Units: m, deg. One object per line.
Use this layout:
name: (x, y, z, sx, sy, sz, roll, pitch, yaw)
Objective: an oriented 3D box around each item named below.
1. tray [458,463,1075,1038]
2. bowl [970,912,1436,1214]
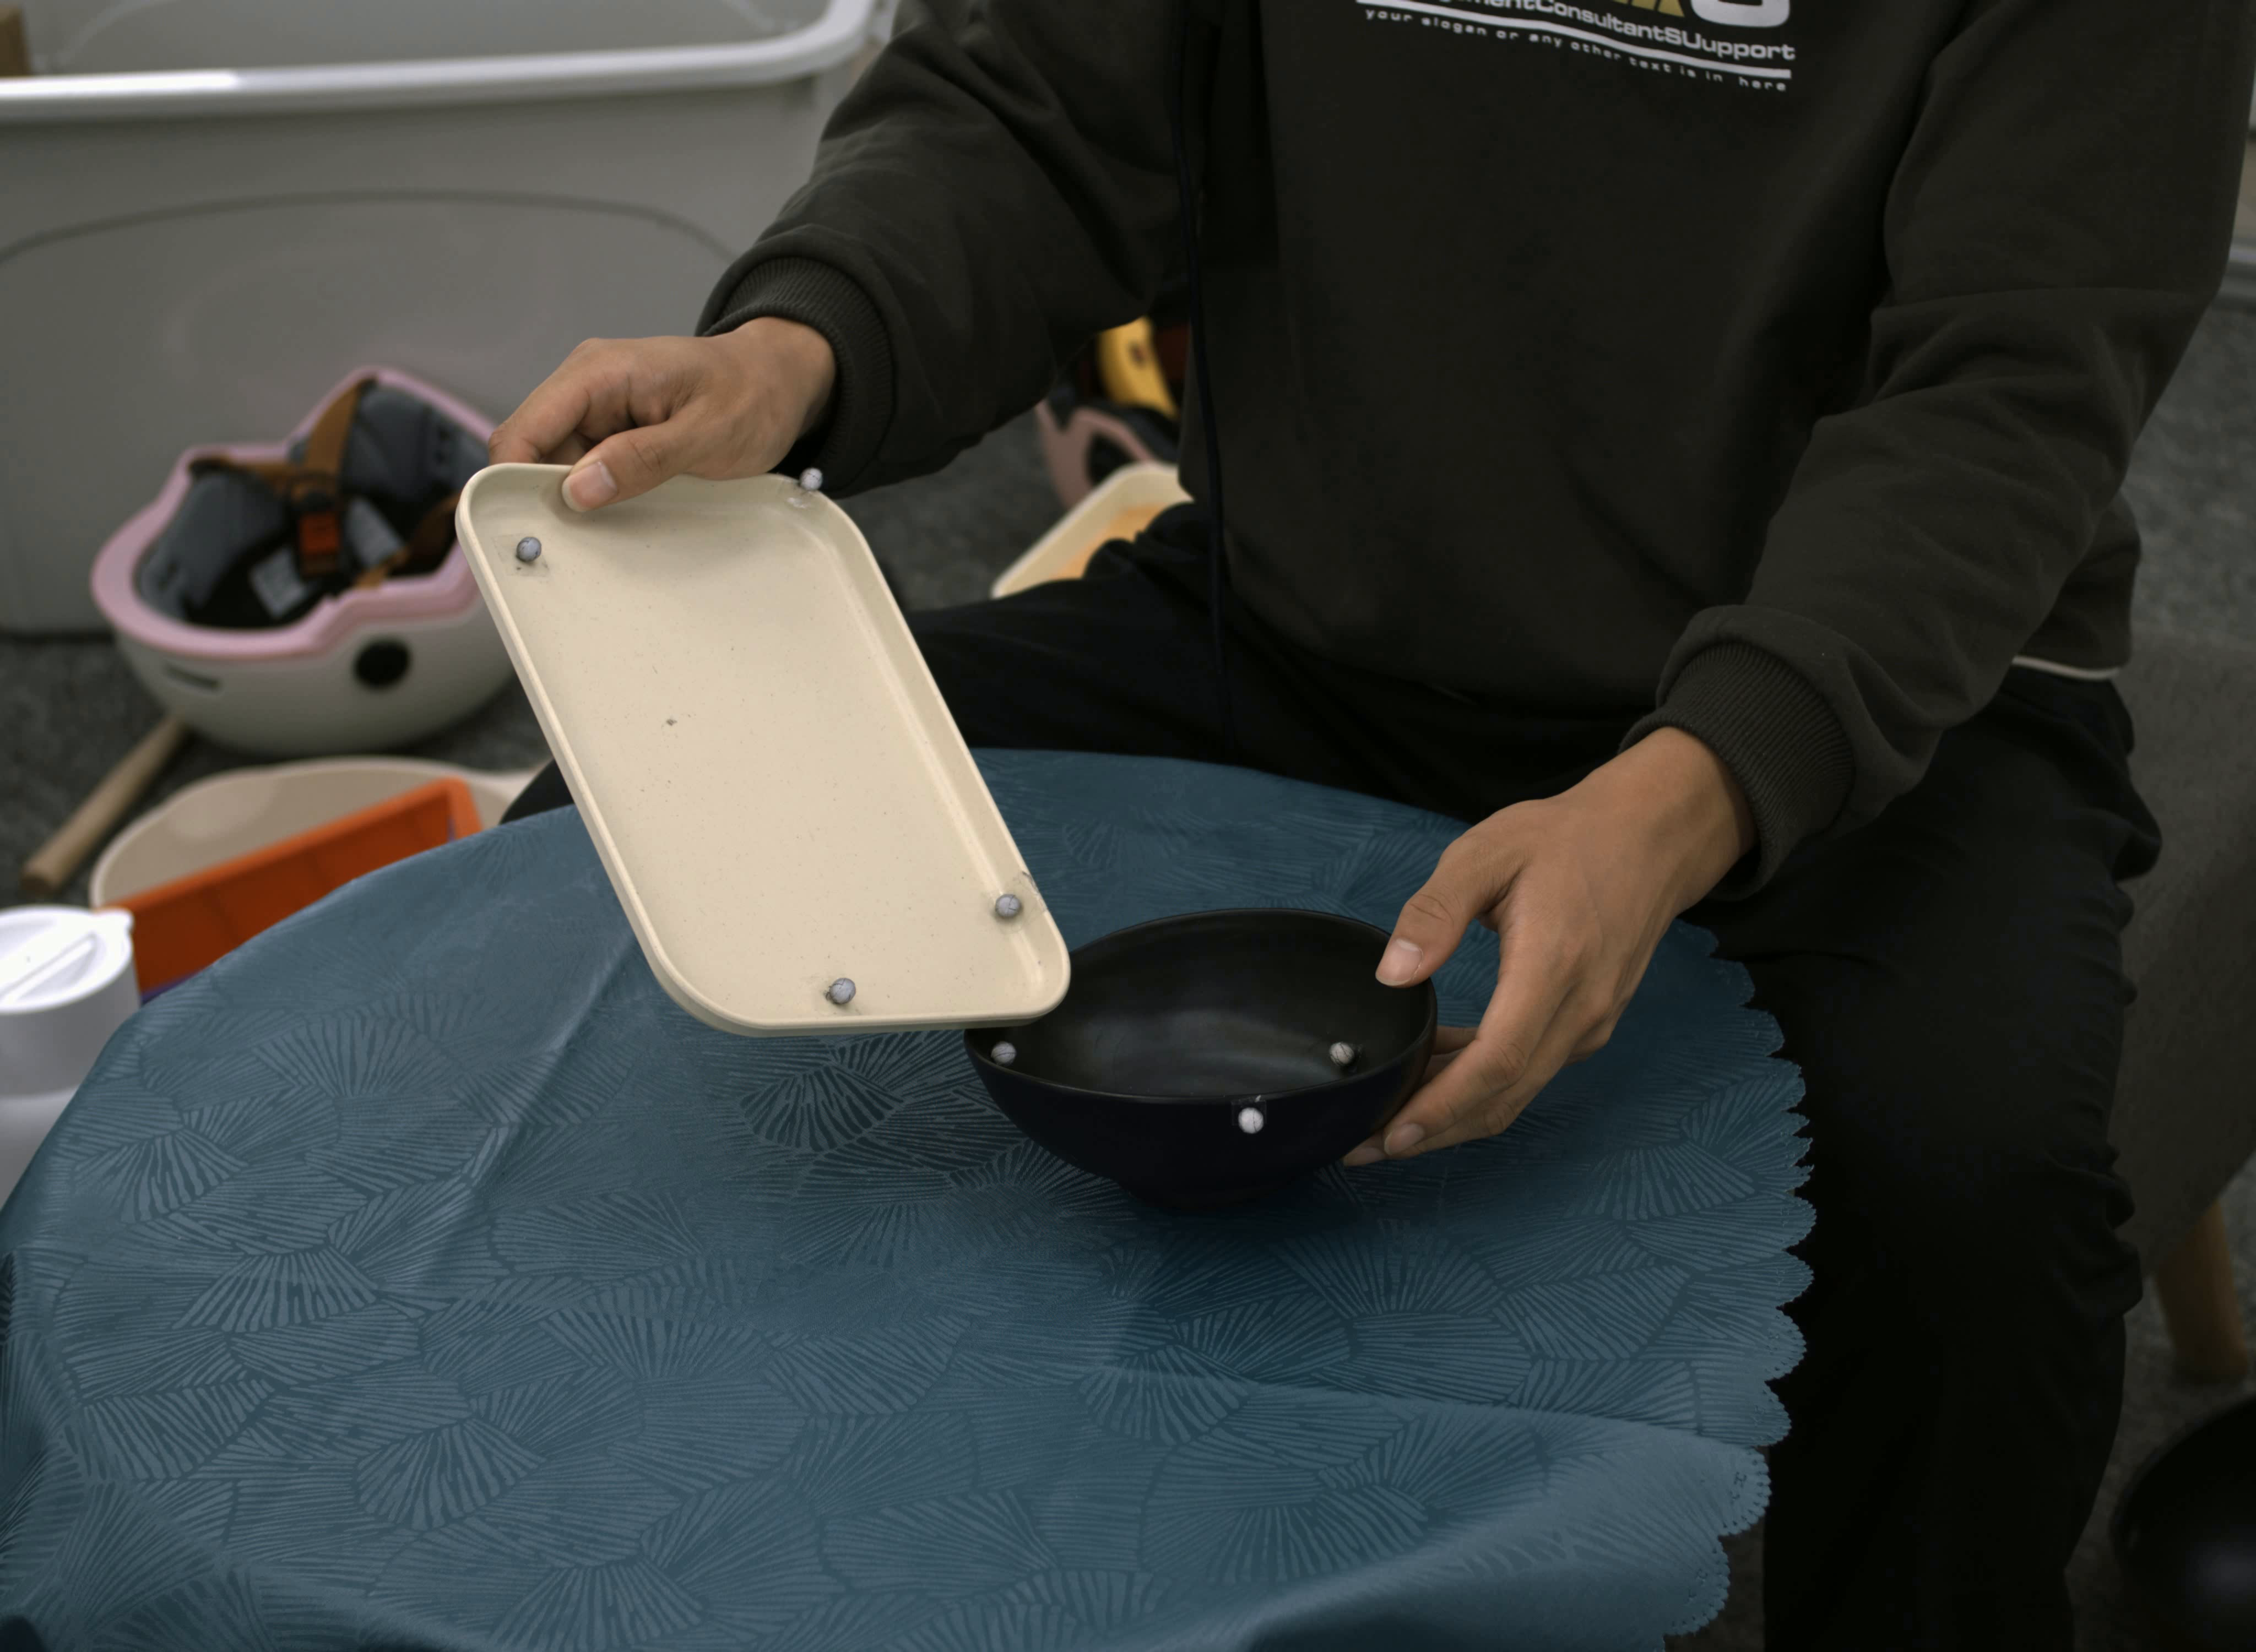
tray: (-0.124, -0.025, 1.901, 0.172, 0.017, 0.243, 0, 51, -40)
bowl: (0.026, 0.086, 1.859, 0.169, 0.066, 0.139, 6, 26, 34)
